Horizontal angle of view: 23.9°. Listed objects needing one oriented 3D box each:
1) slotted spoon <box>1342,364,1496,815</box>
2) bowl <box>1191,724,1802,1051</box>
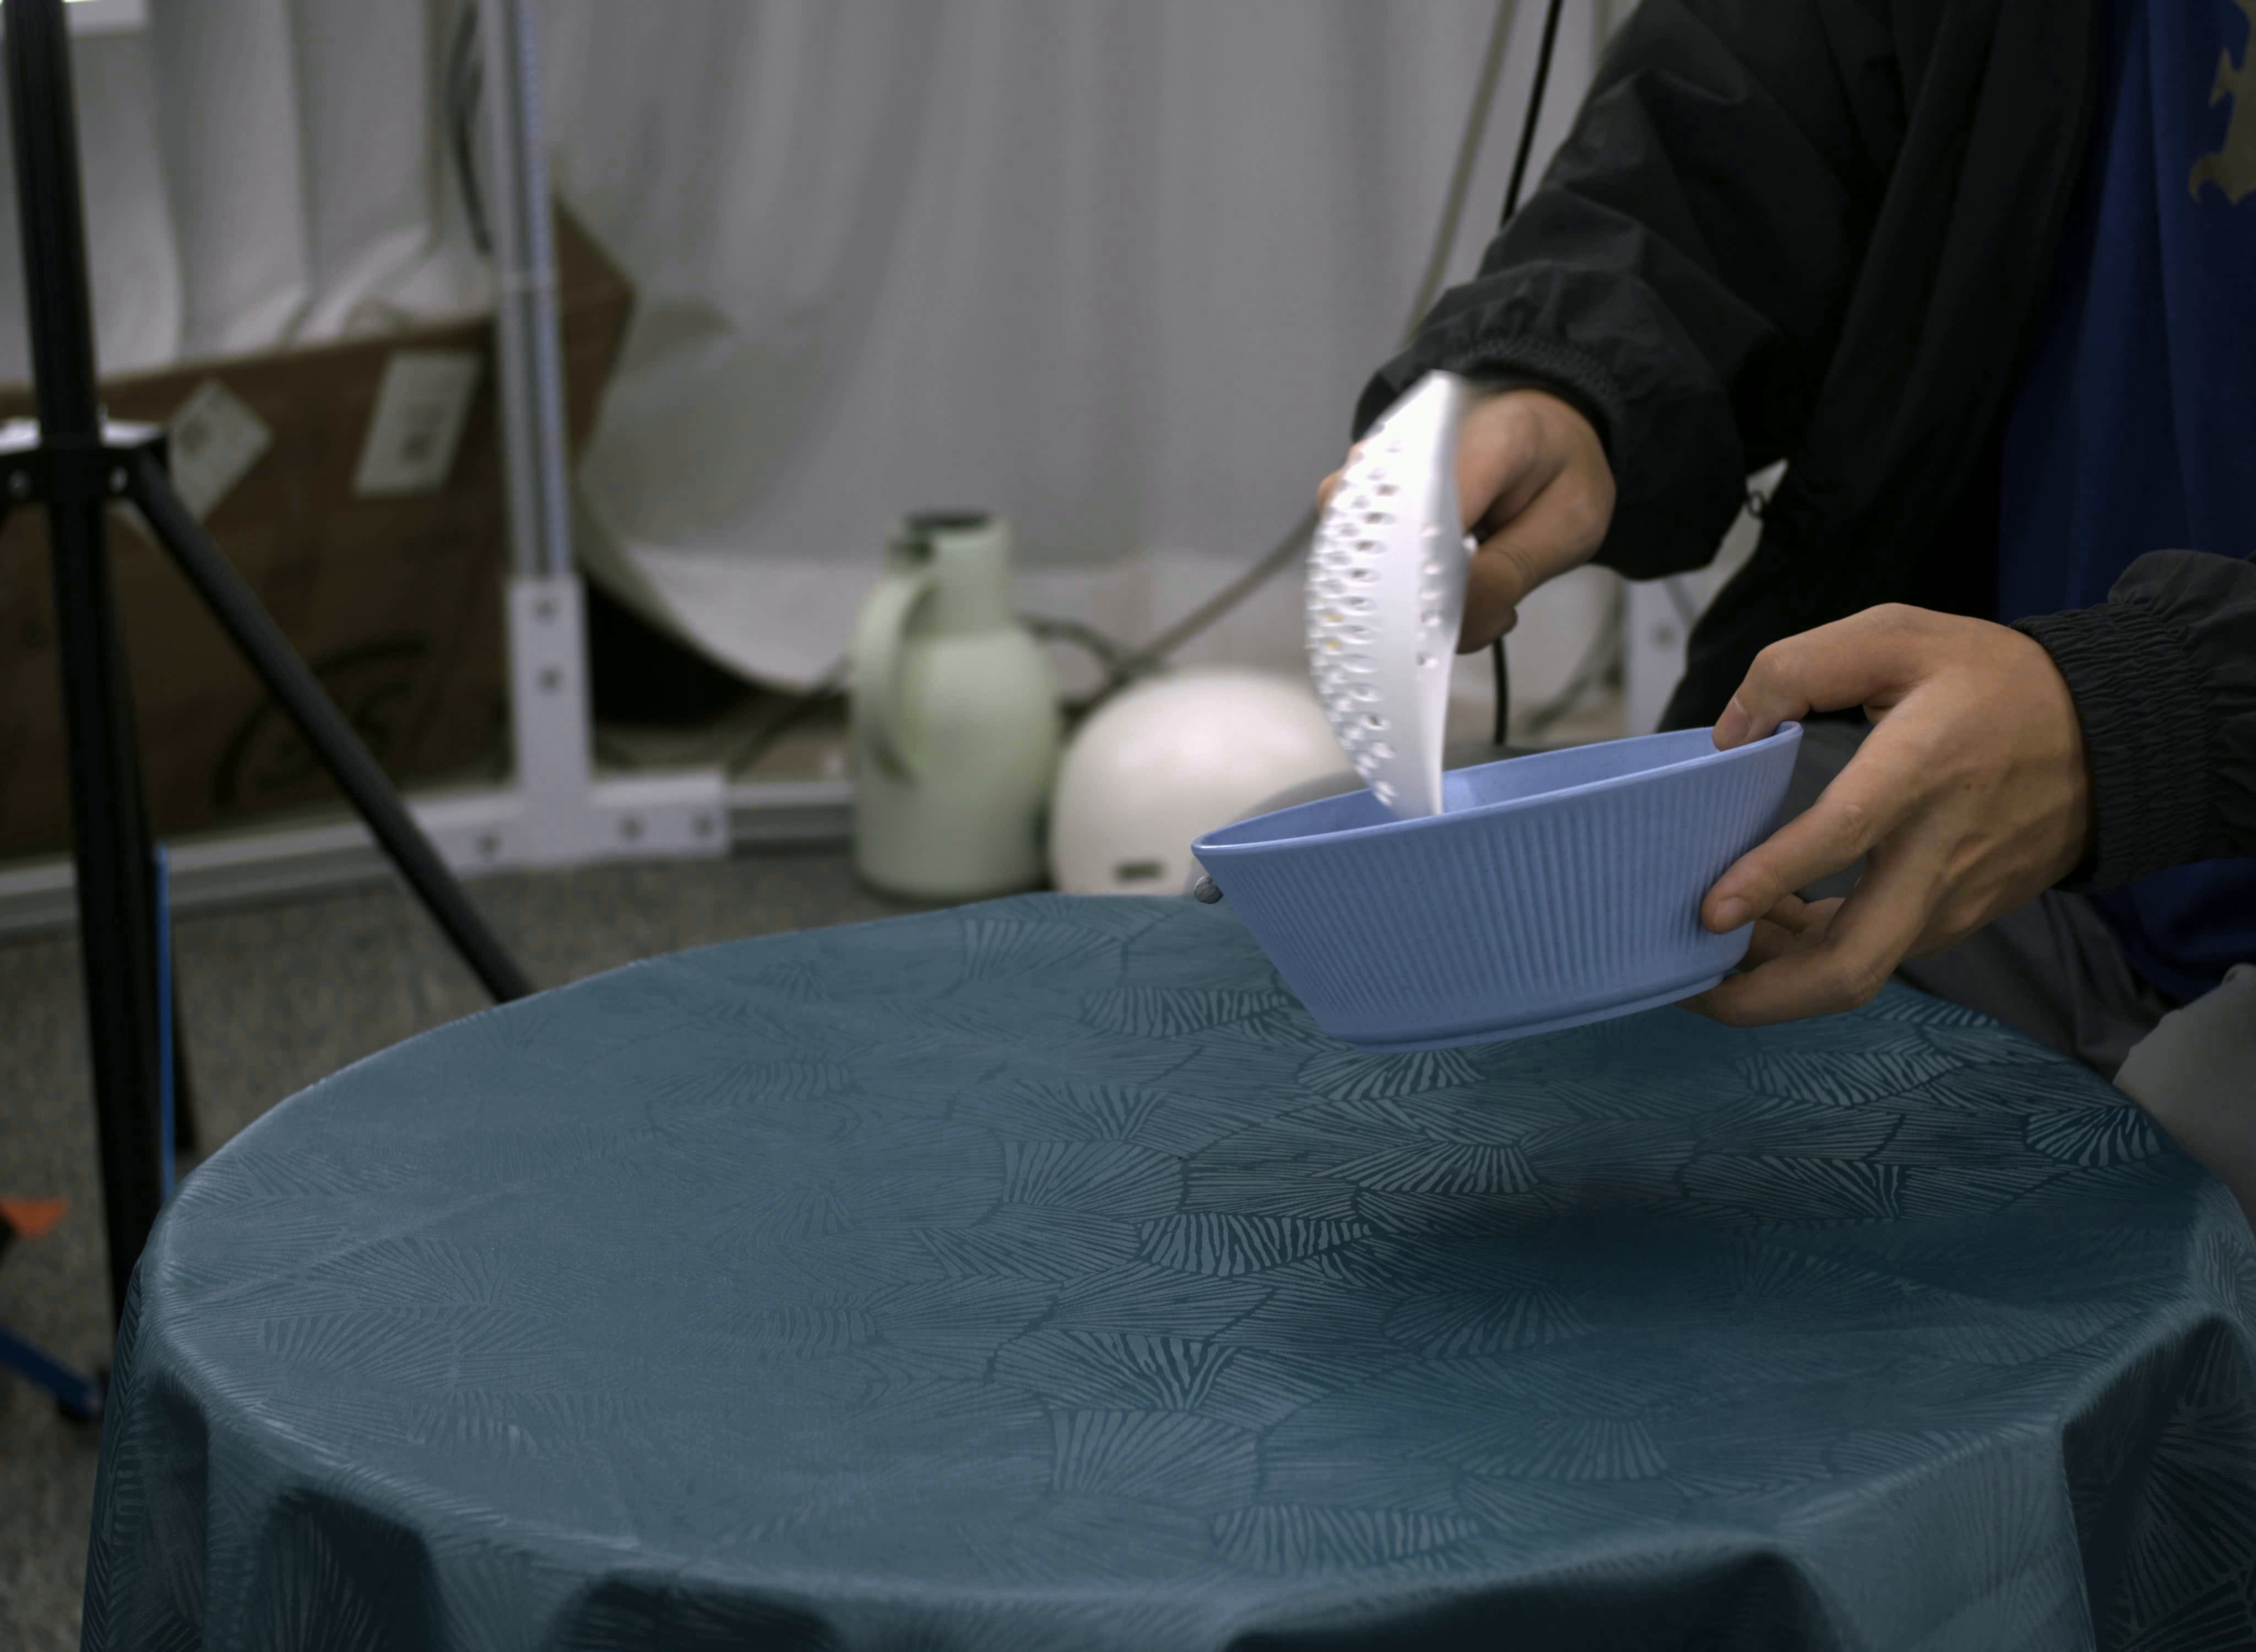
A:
[{"bbox_3d":[0.092,-0.073,1.584,0.050,0.137,0.346,0,8,7],"label":"slotted spoon"},{"bbox_3d":[0.109,0.019,1.504,0.175,0.070,0.176,-11,4,-1],"label":"bowl"}]
